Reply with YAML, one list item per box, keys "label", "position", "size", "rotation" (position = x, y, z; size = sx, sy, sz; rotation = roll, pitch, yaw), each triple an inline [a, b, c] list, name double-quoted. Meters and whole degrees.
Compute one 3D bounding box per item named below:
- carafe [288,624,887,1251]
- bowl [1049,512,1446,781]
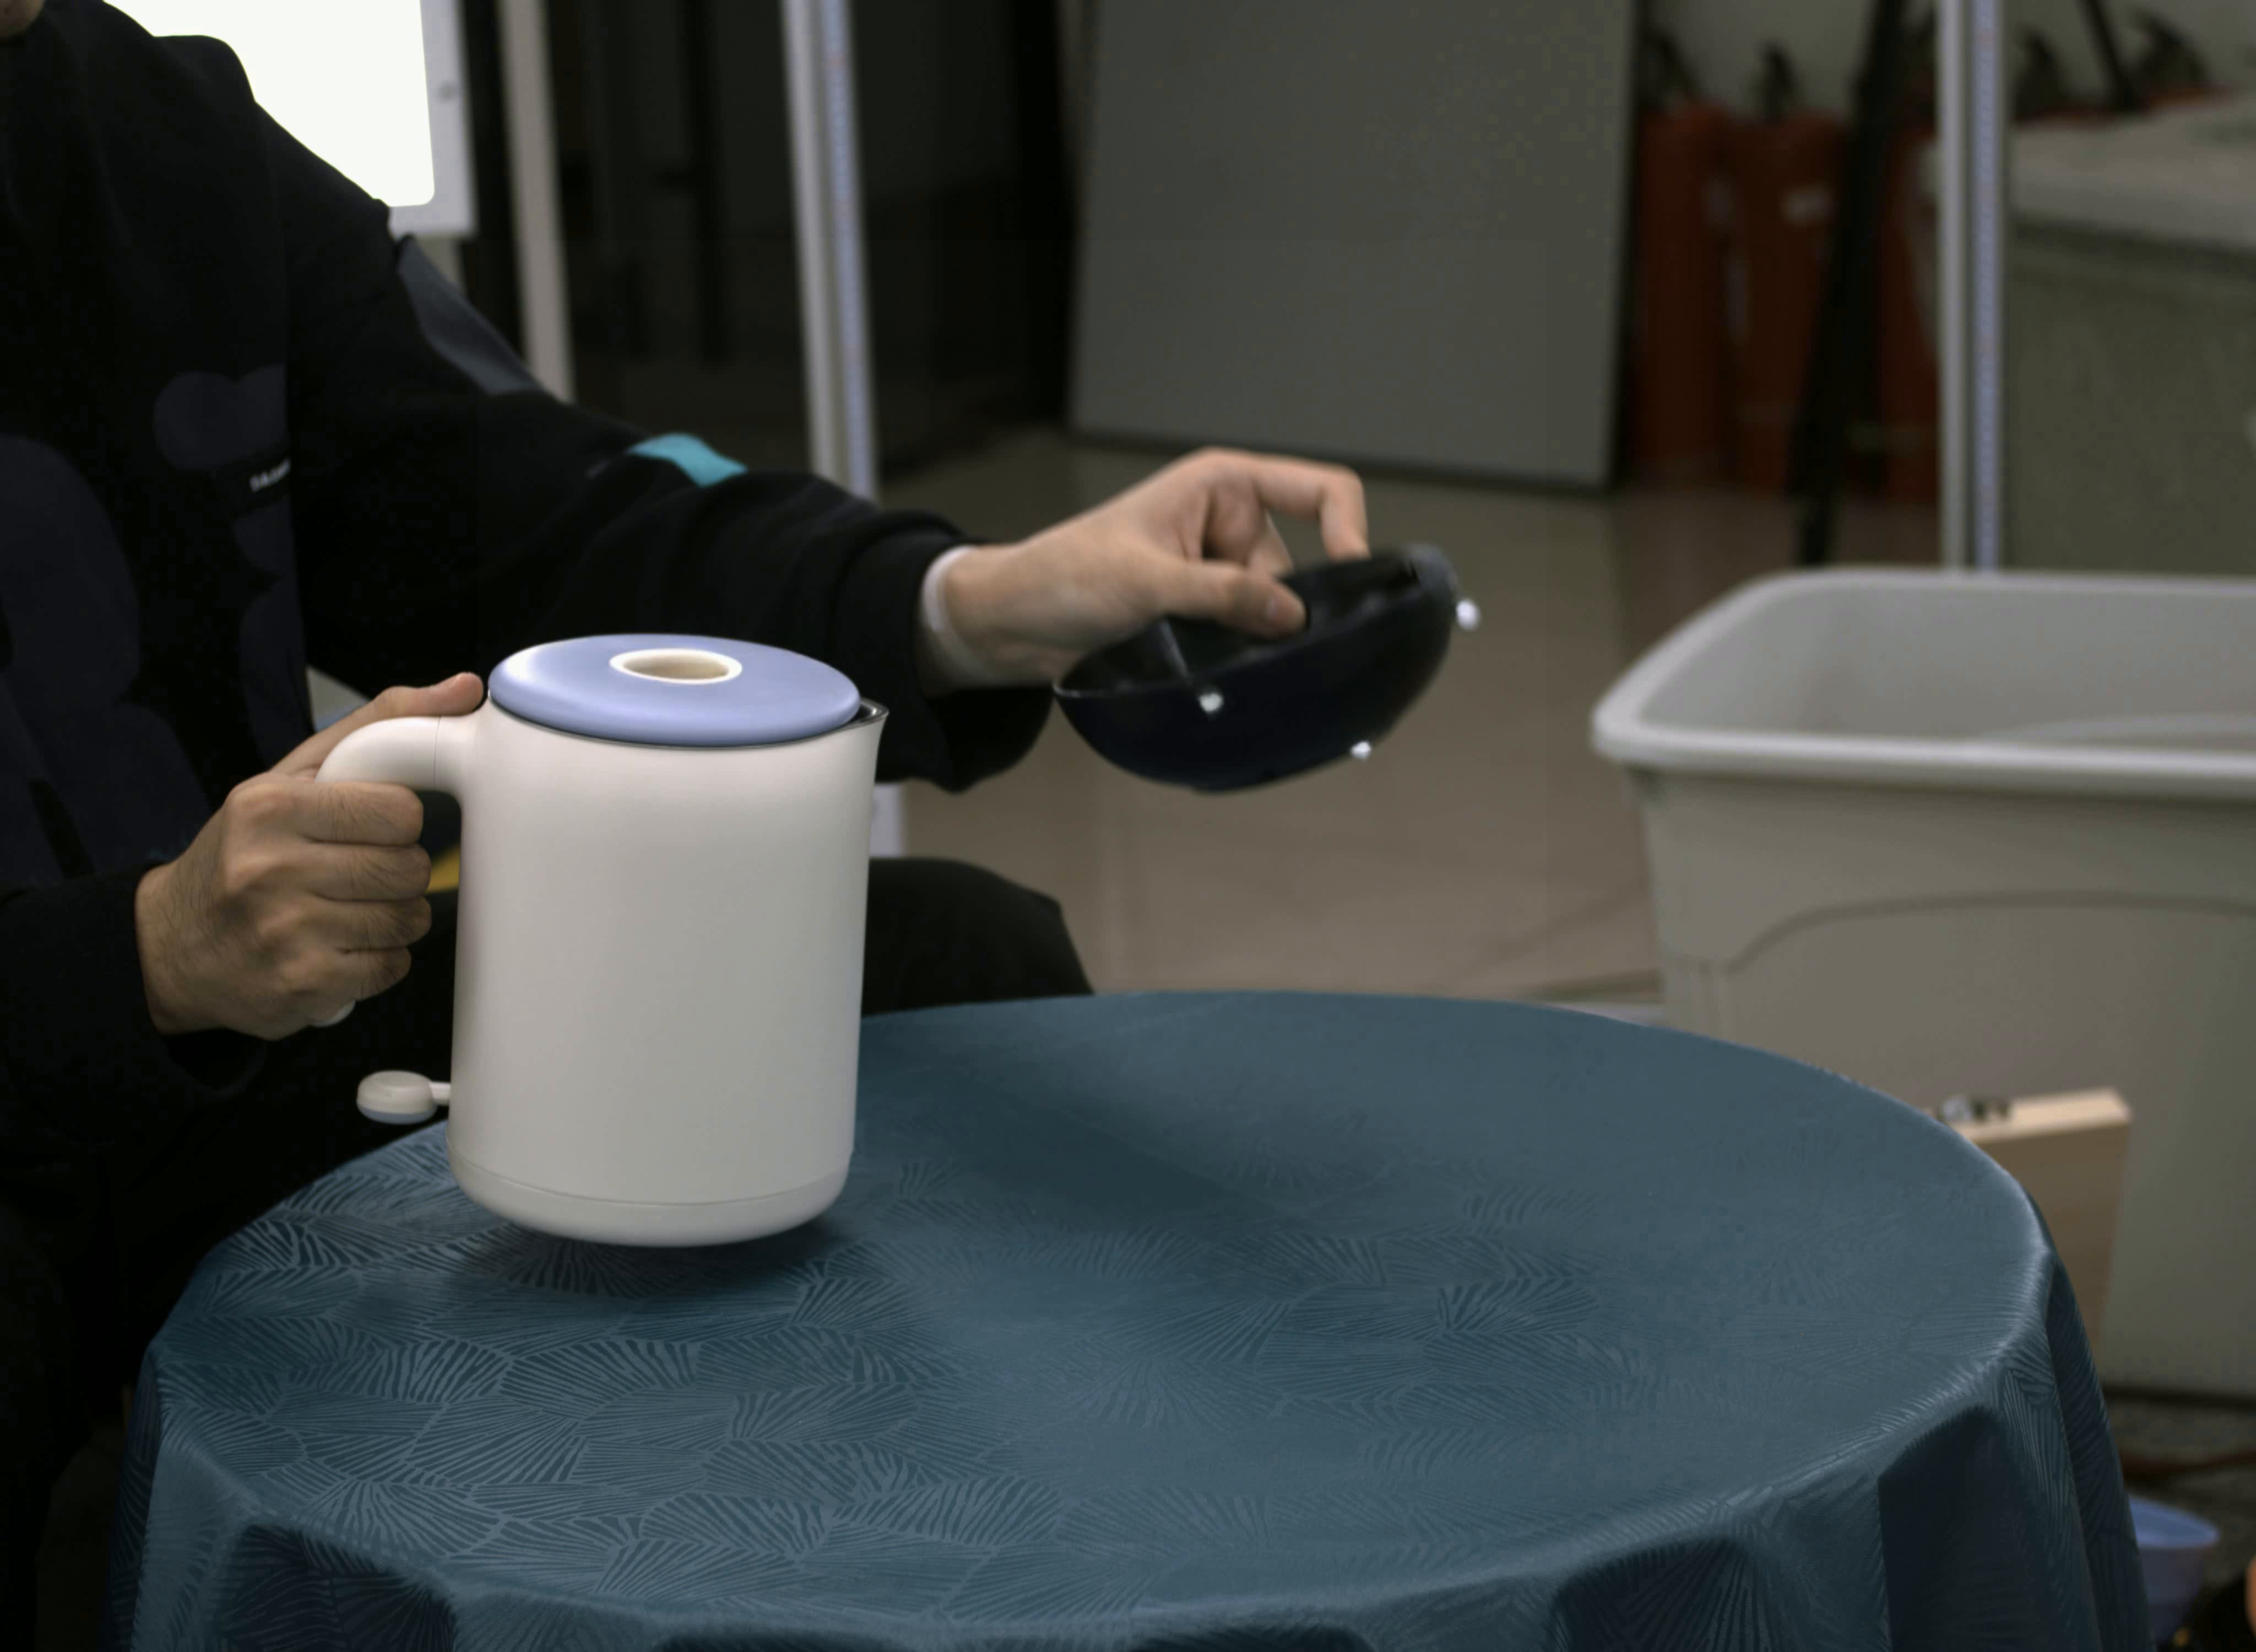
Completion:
- label: "carafe"
  position: [-0.172, 0.034, 1.721]
  size: [0.188, 0.184, 0.132]
  rotation: [1, 13, -2]
- label: "bowl"
  position: [0.046, -0.052, 1.756]
  size: [0.139, 0.050, 0.140]
  rotation: [-24, 8, 3]
